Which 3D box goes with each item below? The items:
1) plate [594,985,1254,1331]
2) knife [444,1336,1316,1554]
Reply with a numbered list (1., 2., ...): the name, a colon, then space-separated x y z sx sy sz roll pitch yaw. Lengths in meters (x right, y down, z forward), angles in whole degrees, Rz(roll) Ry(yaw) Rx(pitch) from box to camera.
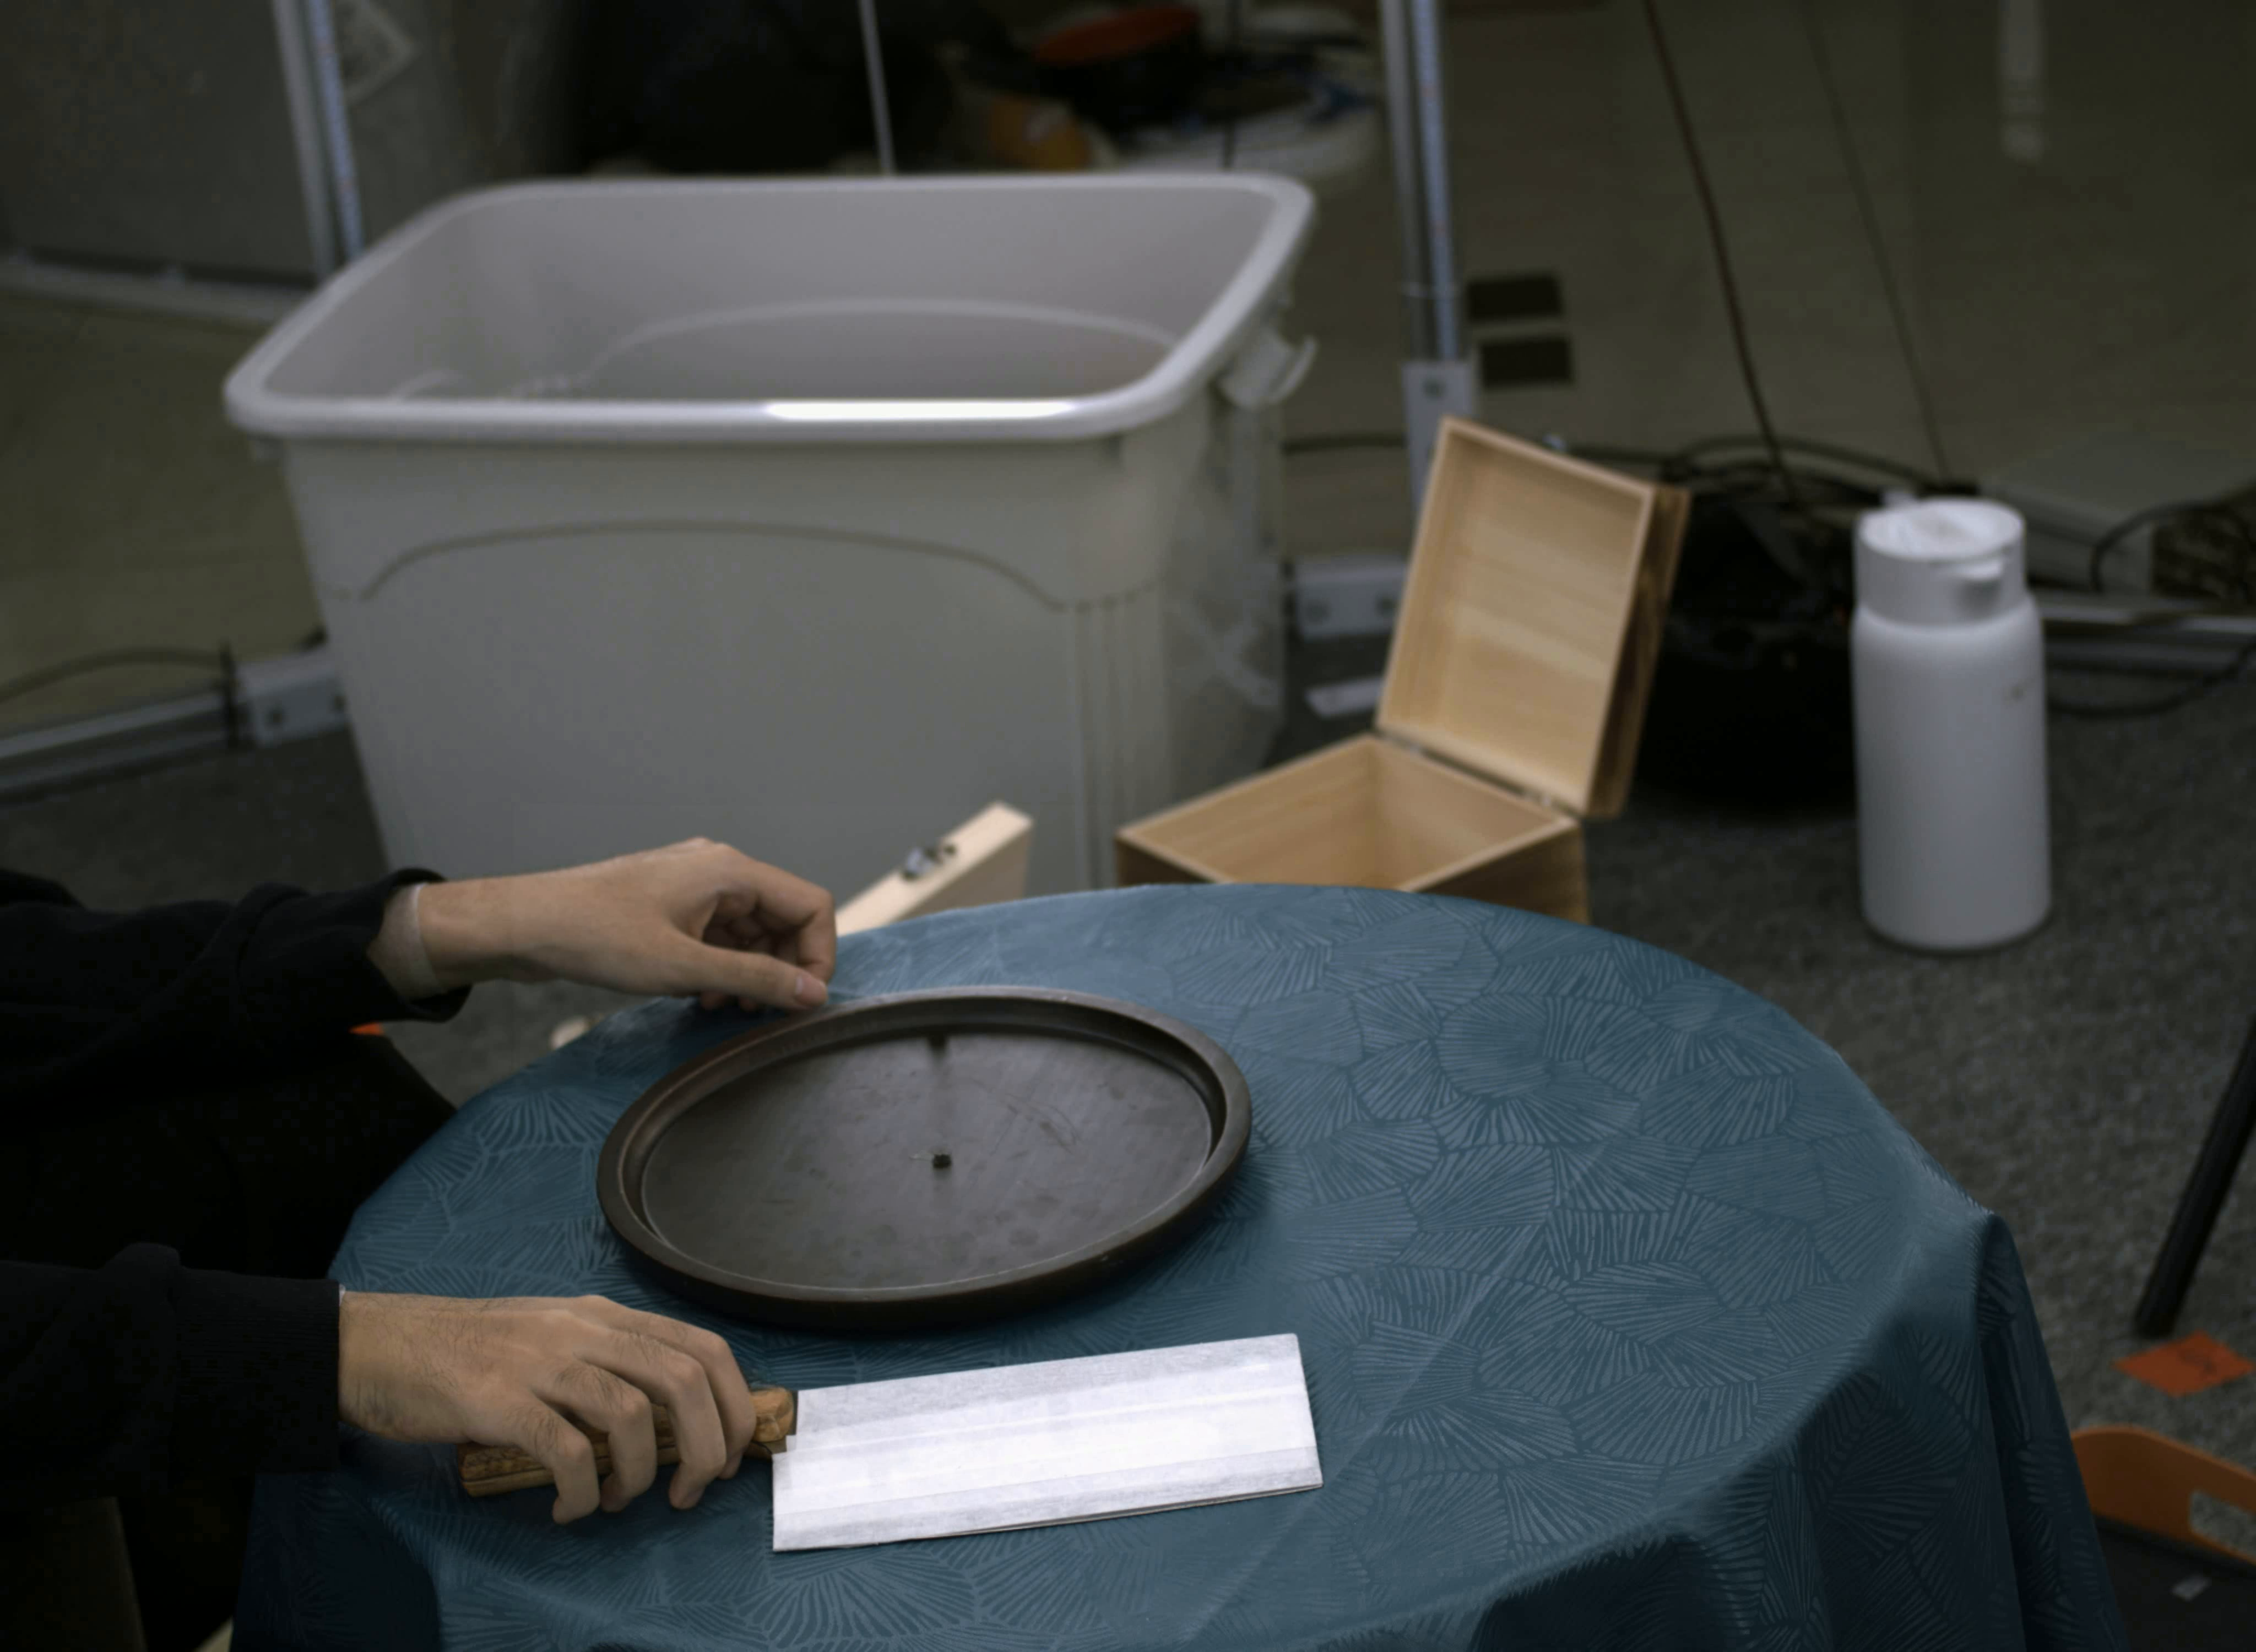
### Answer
1. plate: -0.077 0.125 2.165 0.254 0.029 0.251 -5 24 2
2. knife: -0.087 0.220 1.979 0.305 0.021 0.091 -6 32 -1
